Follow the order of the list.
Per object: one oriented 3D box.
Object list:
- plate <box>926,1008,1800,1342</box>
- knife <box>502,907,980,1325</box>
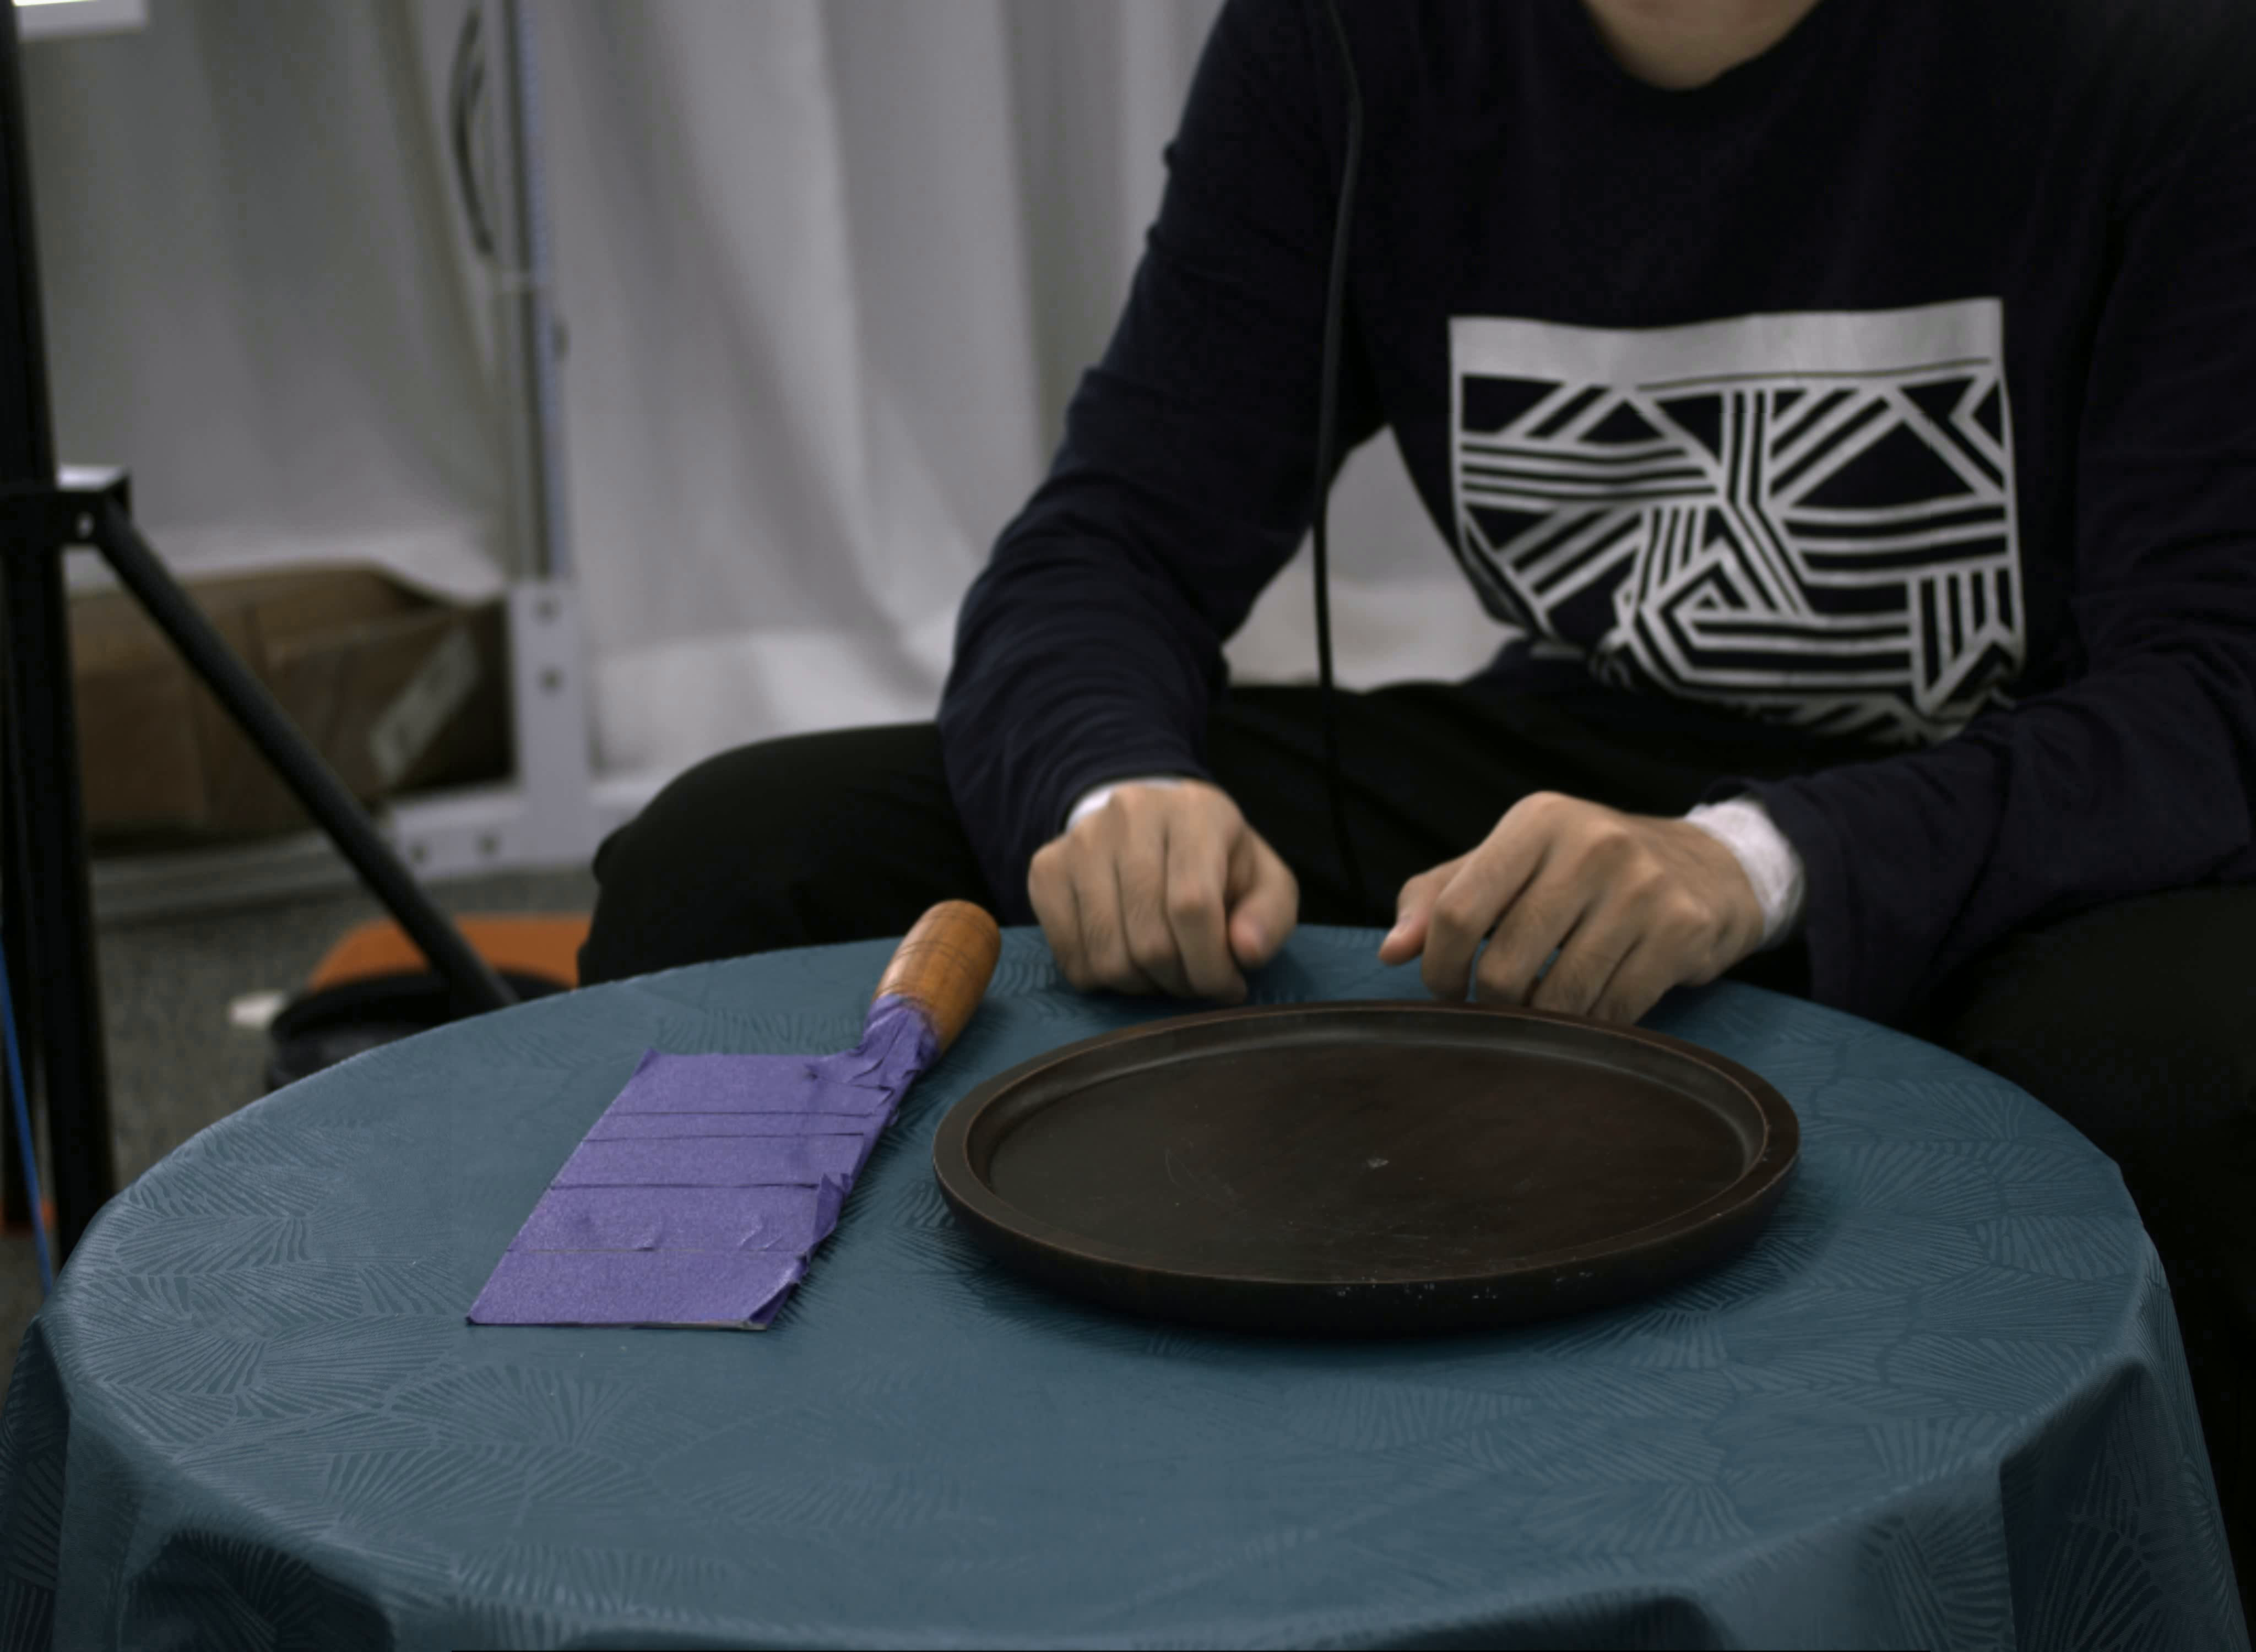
[{"bbox_3d":[0.068,0.098,1.542,0.253,0.029,0.256,-3,17,-1],"label":"plate"},{"bbox_3d":[-0.115,0.084,1.613,0.104,0.032,0.314,0,17,9],"label":"knife"}]
